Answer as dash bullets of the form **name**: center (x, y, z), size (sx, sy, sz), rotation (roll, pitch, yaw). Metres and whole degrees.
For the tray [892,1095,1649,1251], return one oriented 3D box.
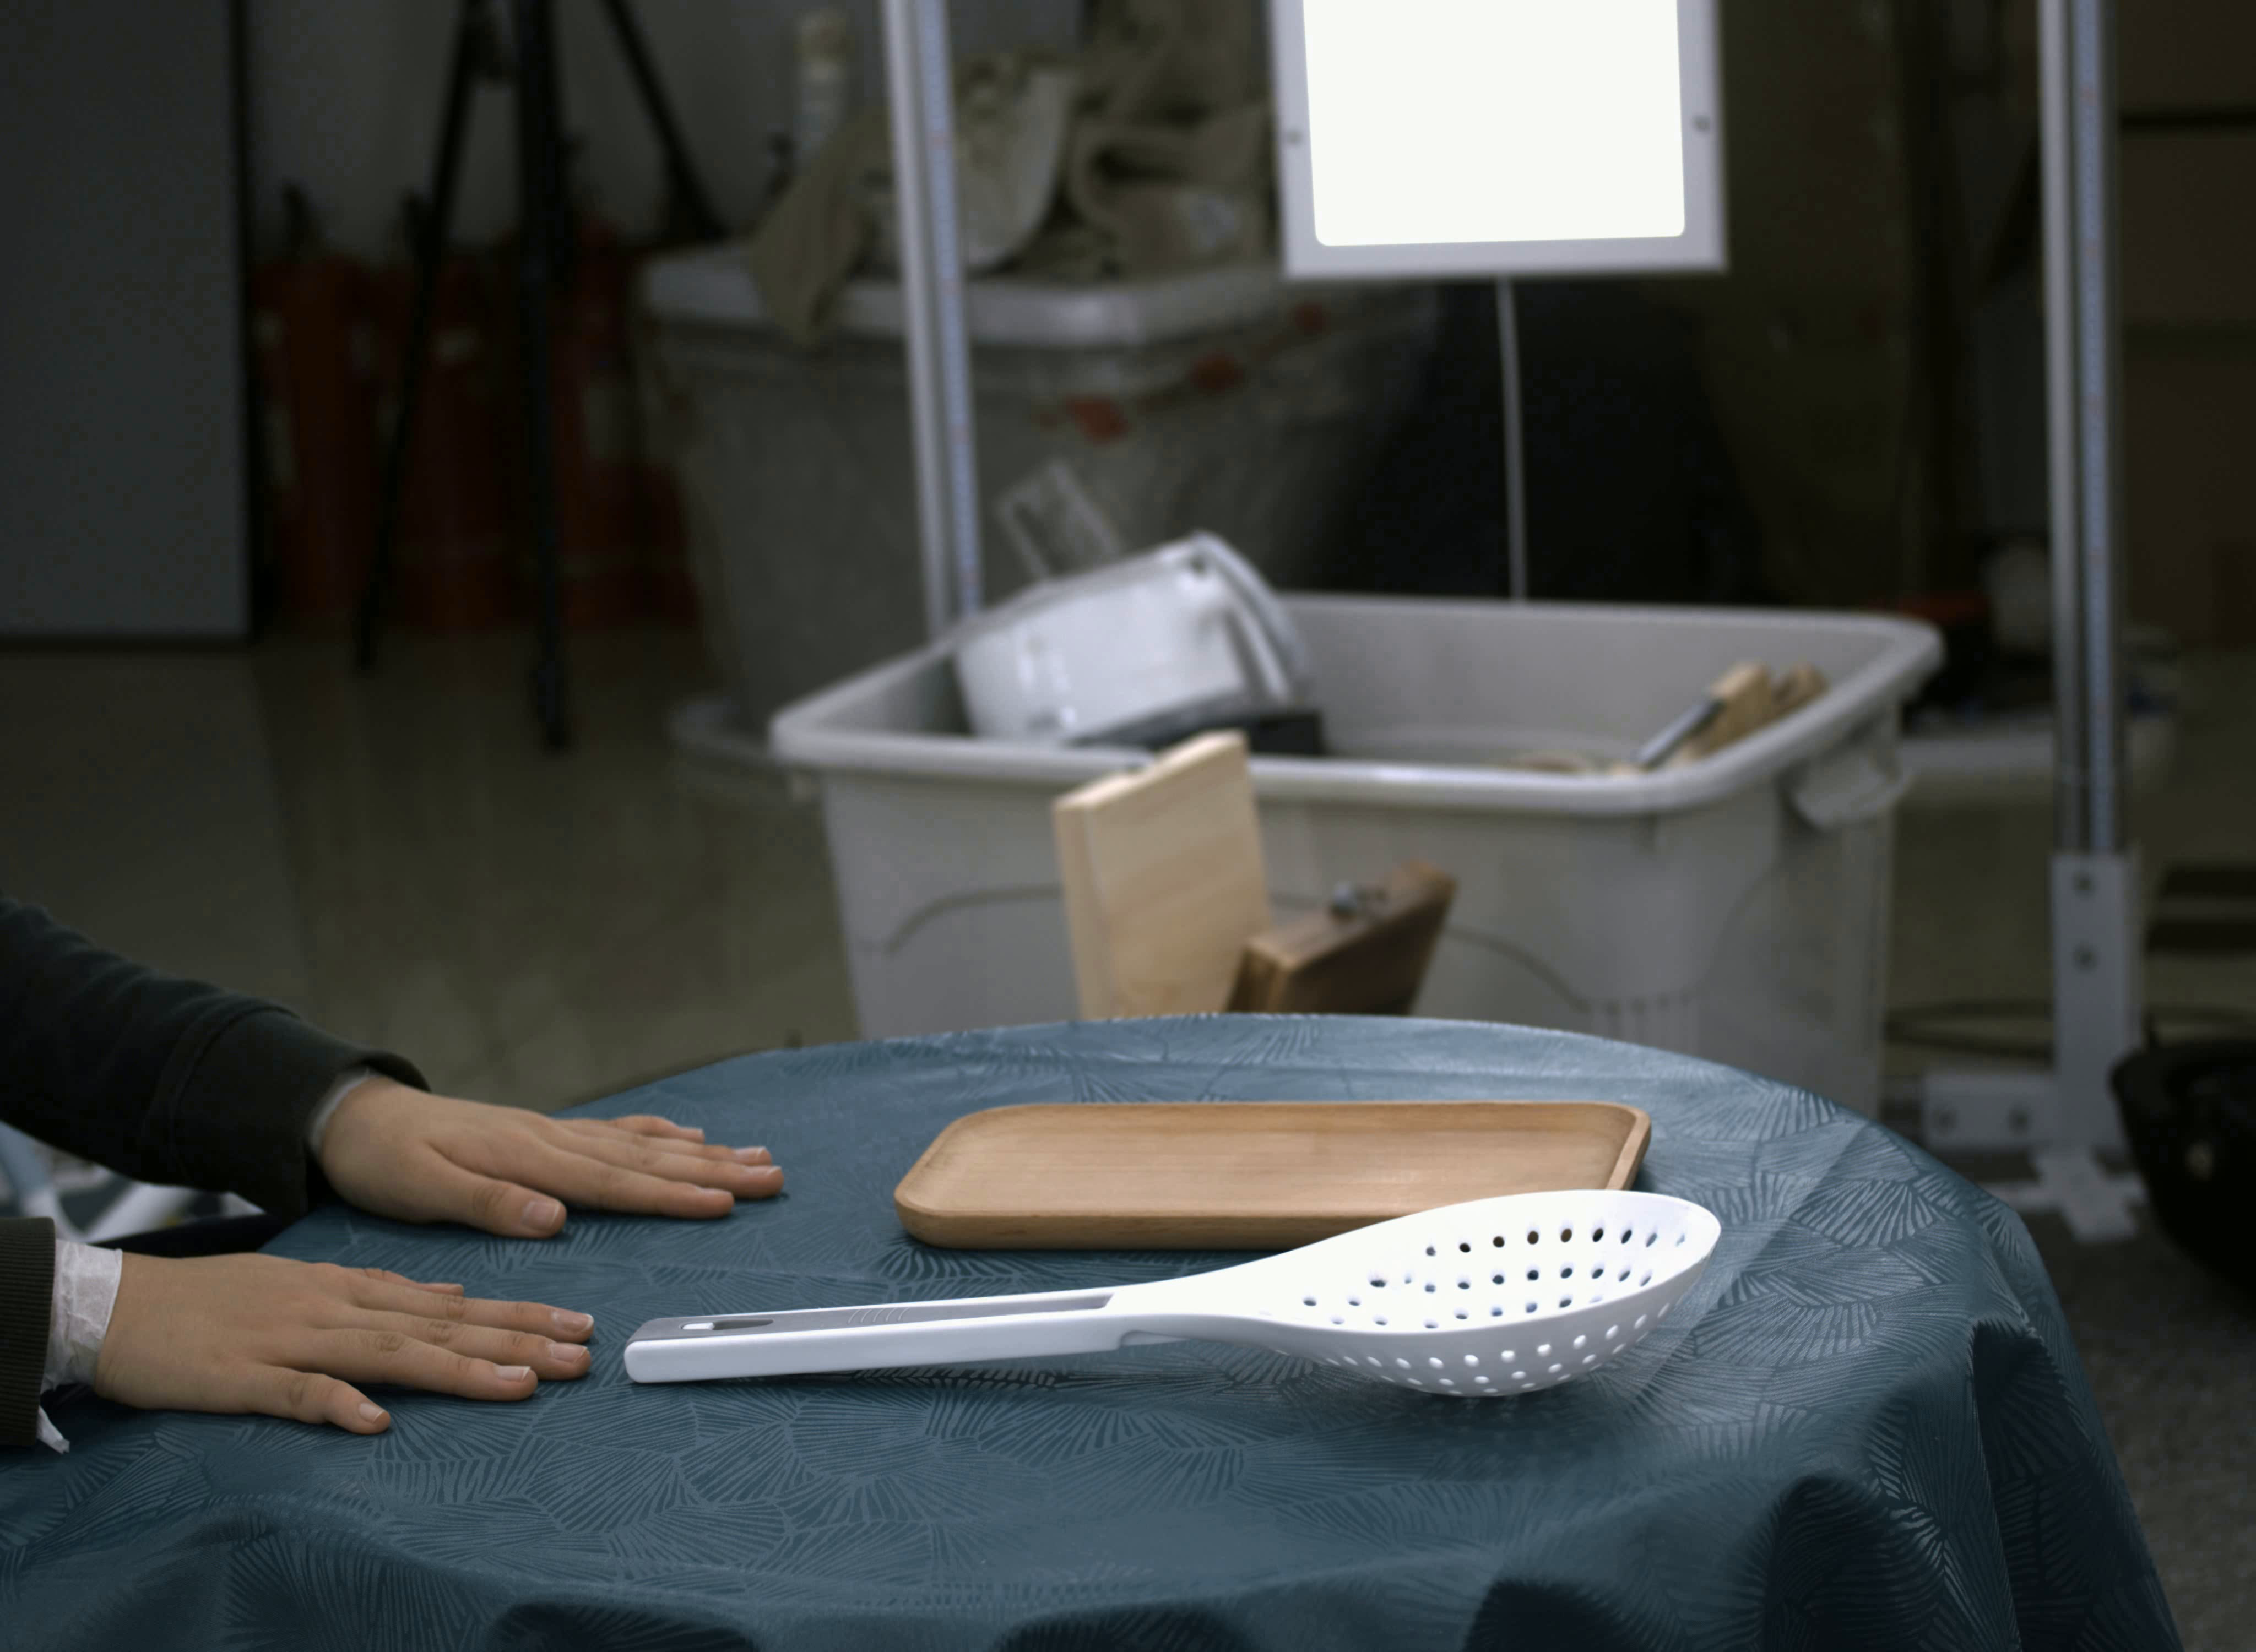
- **tray**: center (0.050, 0.119, 1.877), size (0.253, 0.023, 0.129), rotation (-2, 12, 16)

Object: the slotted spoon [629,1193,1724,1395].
- **slotted spoon**: center (0.011, 0.150, 1.703), size (0.353, 0.046, 0.134), rotation (-2, 12, 16)
